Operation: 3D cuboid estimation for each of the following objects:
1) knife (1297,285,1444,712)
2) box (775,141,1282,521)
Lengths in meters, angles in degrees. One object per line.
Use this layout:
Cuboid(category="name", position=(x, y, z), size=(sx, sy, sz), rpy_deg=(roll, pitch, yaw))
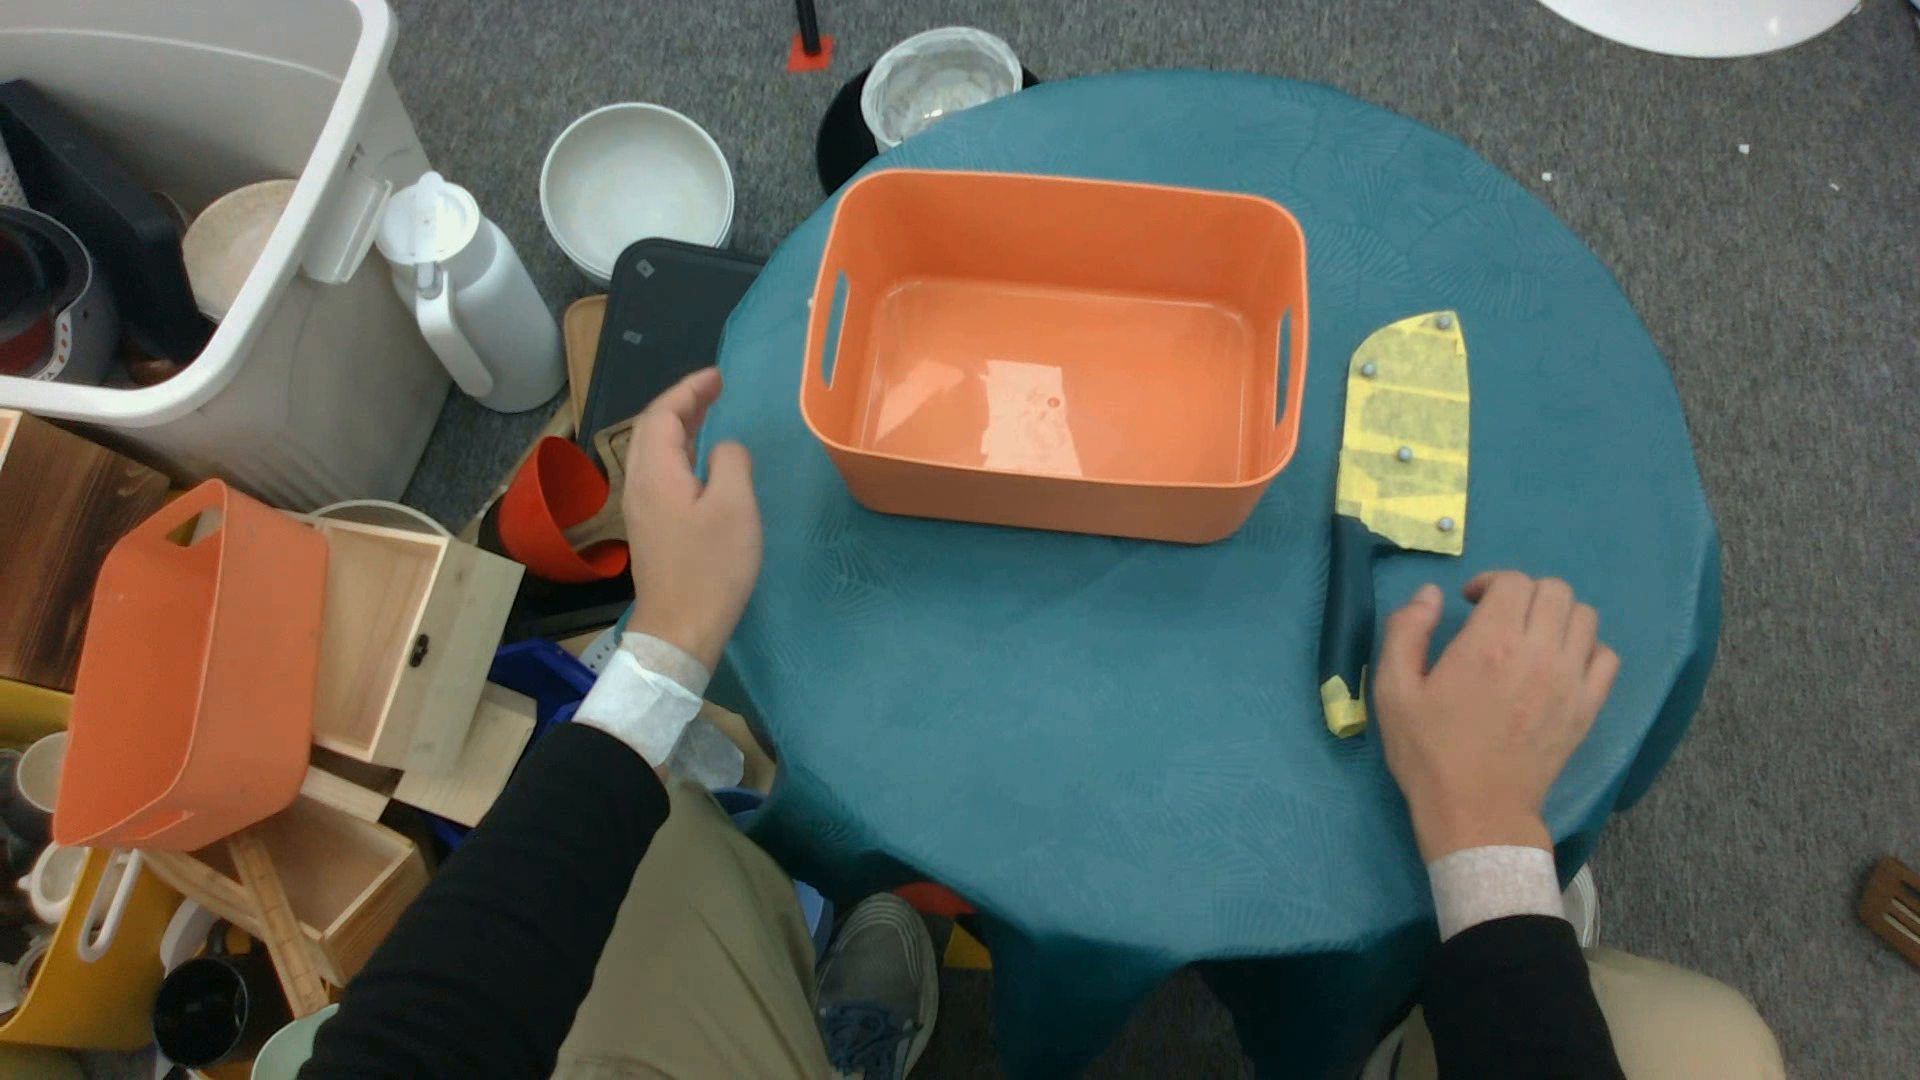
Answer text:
Cuboid(category="knife", position=(0.241, -0.033, 0.806), size=(0.081, 0.027, 0.290), rpy_deg=(12, 66, 9))
Cuboid(category="box", position=(0.042, -0.115, 0.799), size=(0.273, 0.102, 0.200), rpy_deg=(6, 66, 4))
